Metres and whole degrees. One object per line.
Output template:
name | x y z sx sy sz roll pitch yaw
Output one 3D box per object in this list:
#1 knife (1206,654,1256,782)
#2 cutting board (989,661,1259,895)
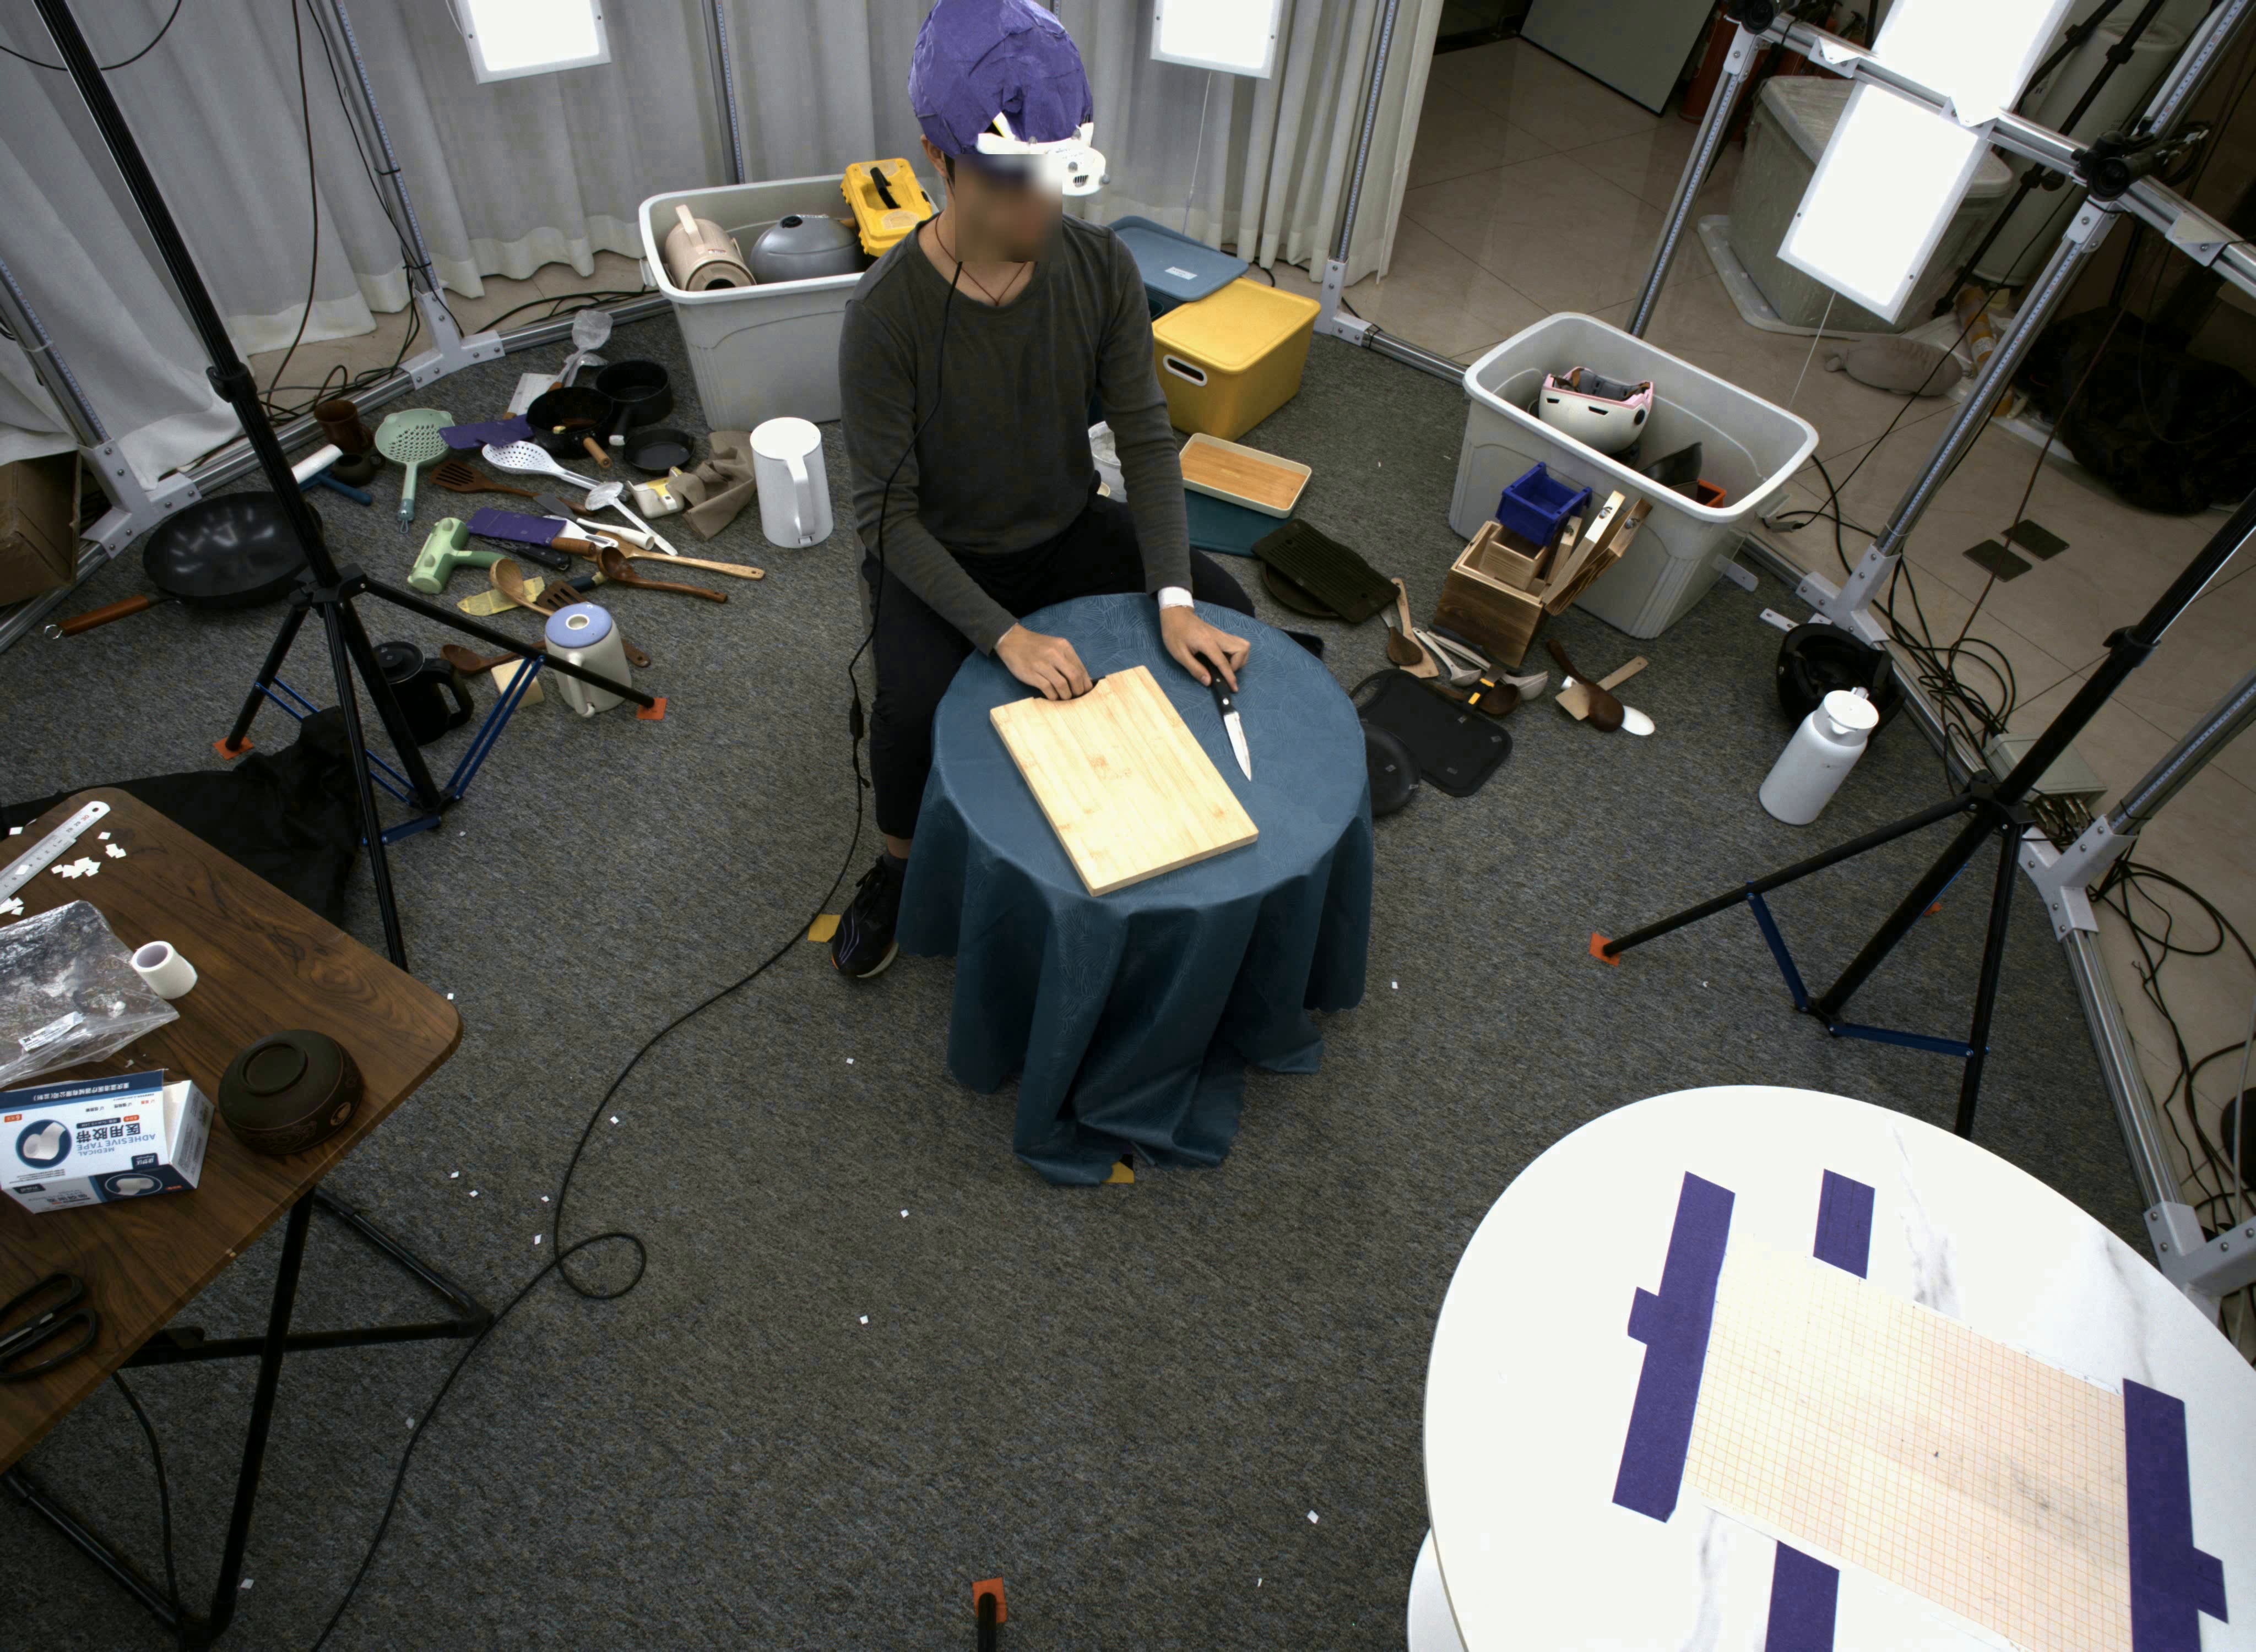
knife | 0.144 -0.154 1.803 0.024 0.016 0.244 -7 53 -10
cutting board | -0.012 -0.074 1.720 0.251 0.023 0.356 -18 53 -19
